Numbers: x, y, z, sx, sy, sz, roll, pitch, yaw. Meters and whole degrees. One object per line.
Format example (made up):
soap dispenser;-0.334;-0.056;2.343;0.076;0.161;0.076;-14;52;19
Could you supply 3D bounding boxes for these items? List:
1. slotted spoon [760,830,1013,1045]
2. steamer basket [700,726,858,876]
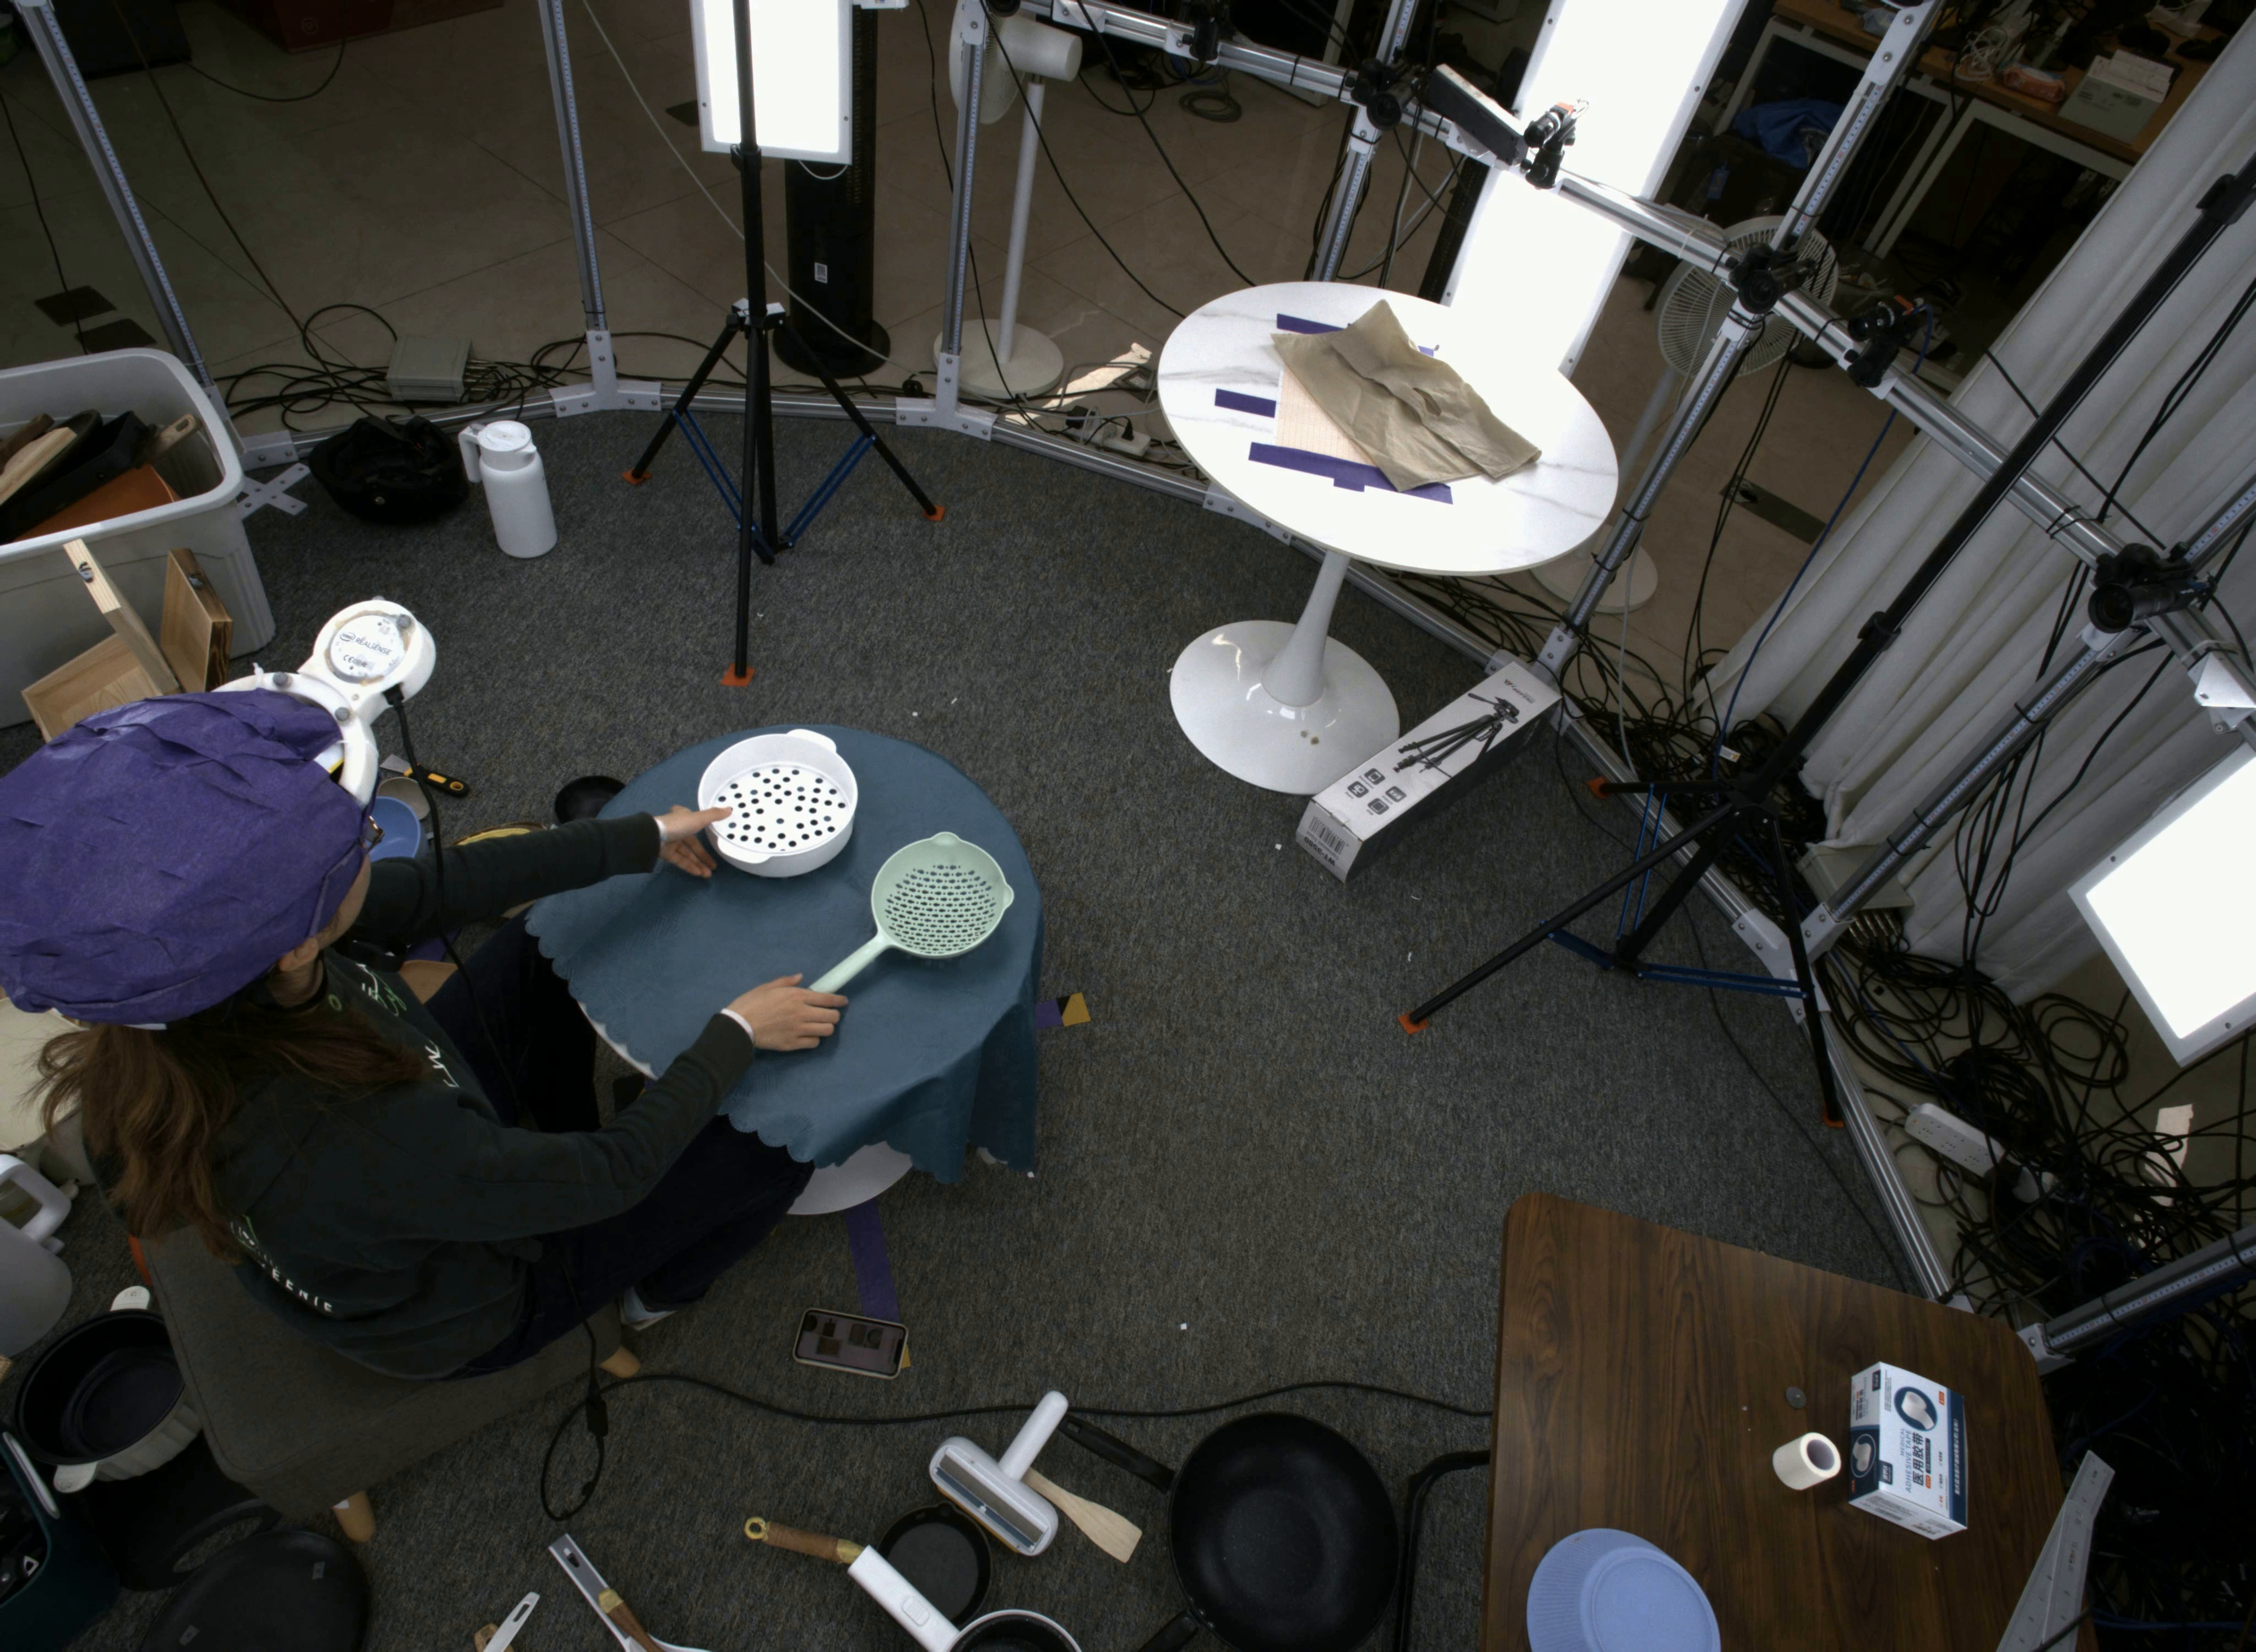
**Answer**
slotted spoon;-0.307;0.145;1.609;0.165;0.077;0.360;42;55;18
steamer basket;-0.456;-0.028;1.701;0.200;0.071;0.228;18;52;1
